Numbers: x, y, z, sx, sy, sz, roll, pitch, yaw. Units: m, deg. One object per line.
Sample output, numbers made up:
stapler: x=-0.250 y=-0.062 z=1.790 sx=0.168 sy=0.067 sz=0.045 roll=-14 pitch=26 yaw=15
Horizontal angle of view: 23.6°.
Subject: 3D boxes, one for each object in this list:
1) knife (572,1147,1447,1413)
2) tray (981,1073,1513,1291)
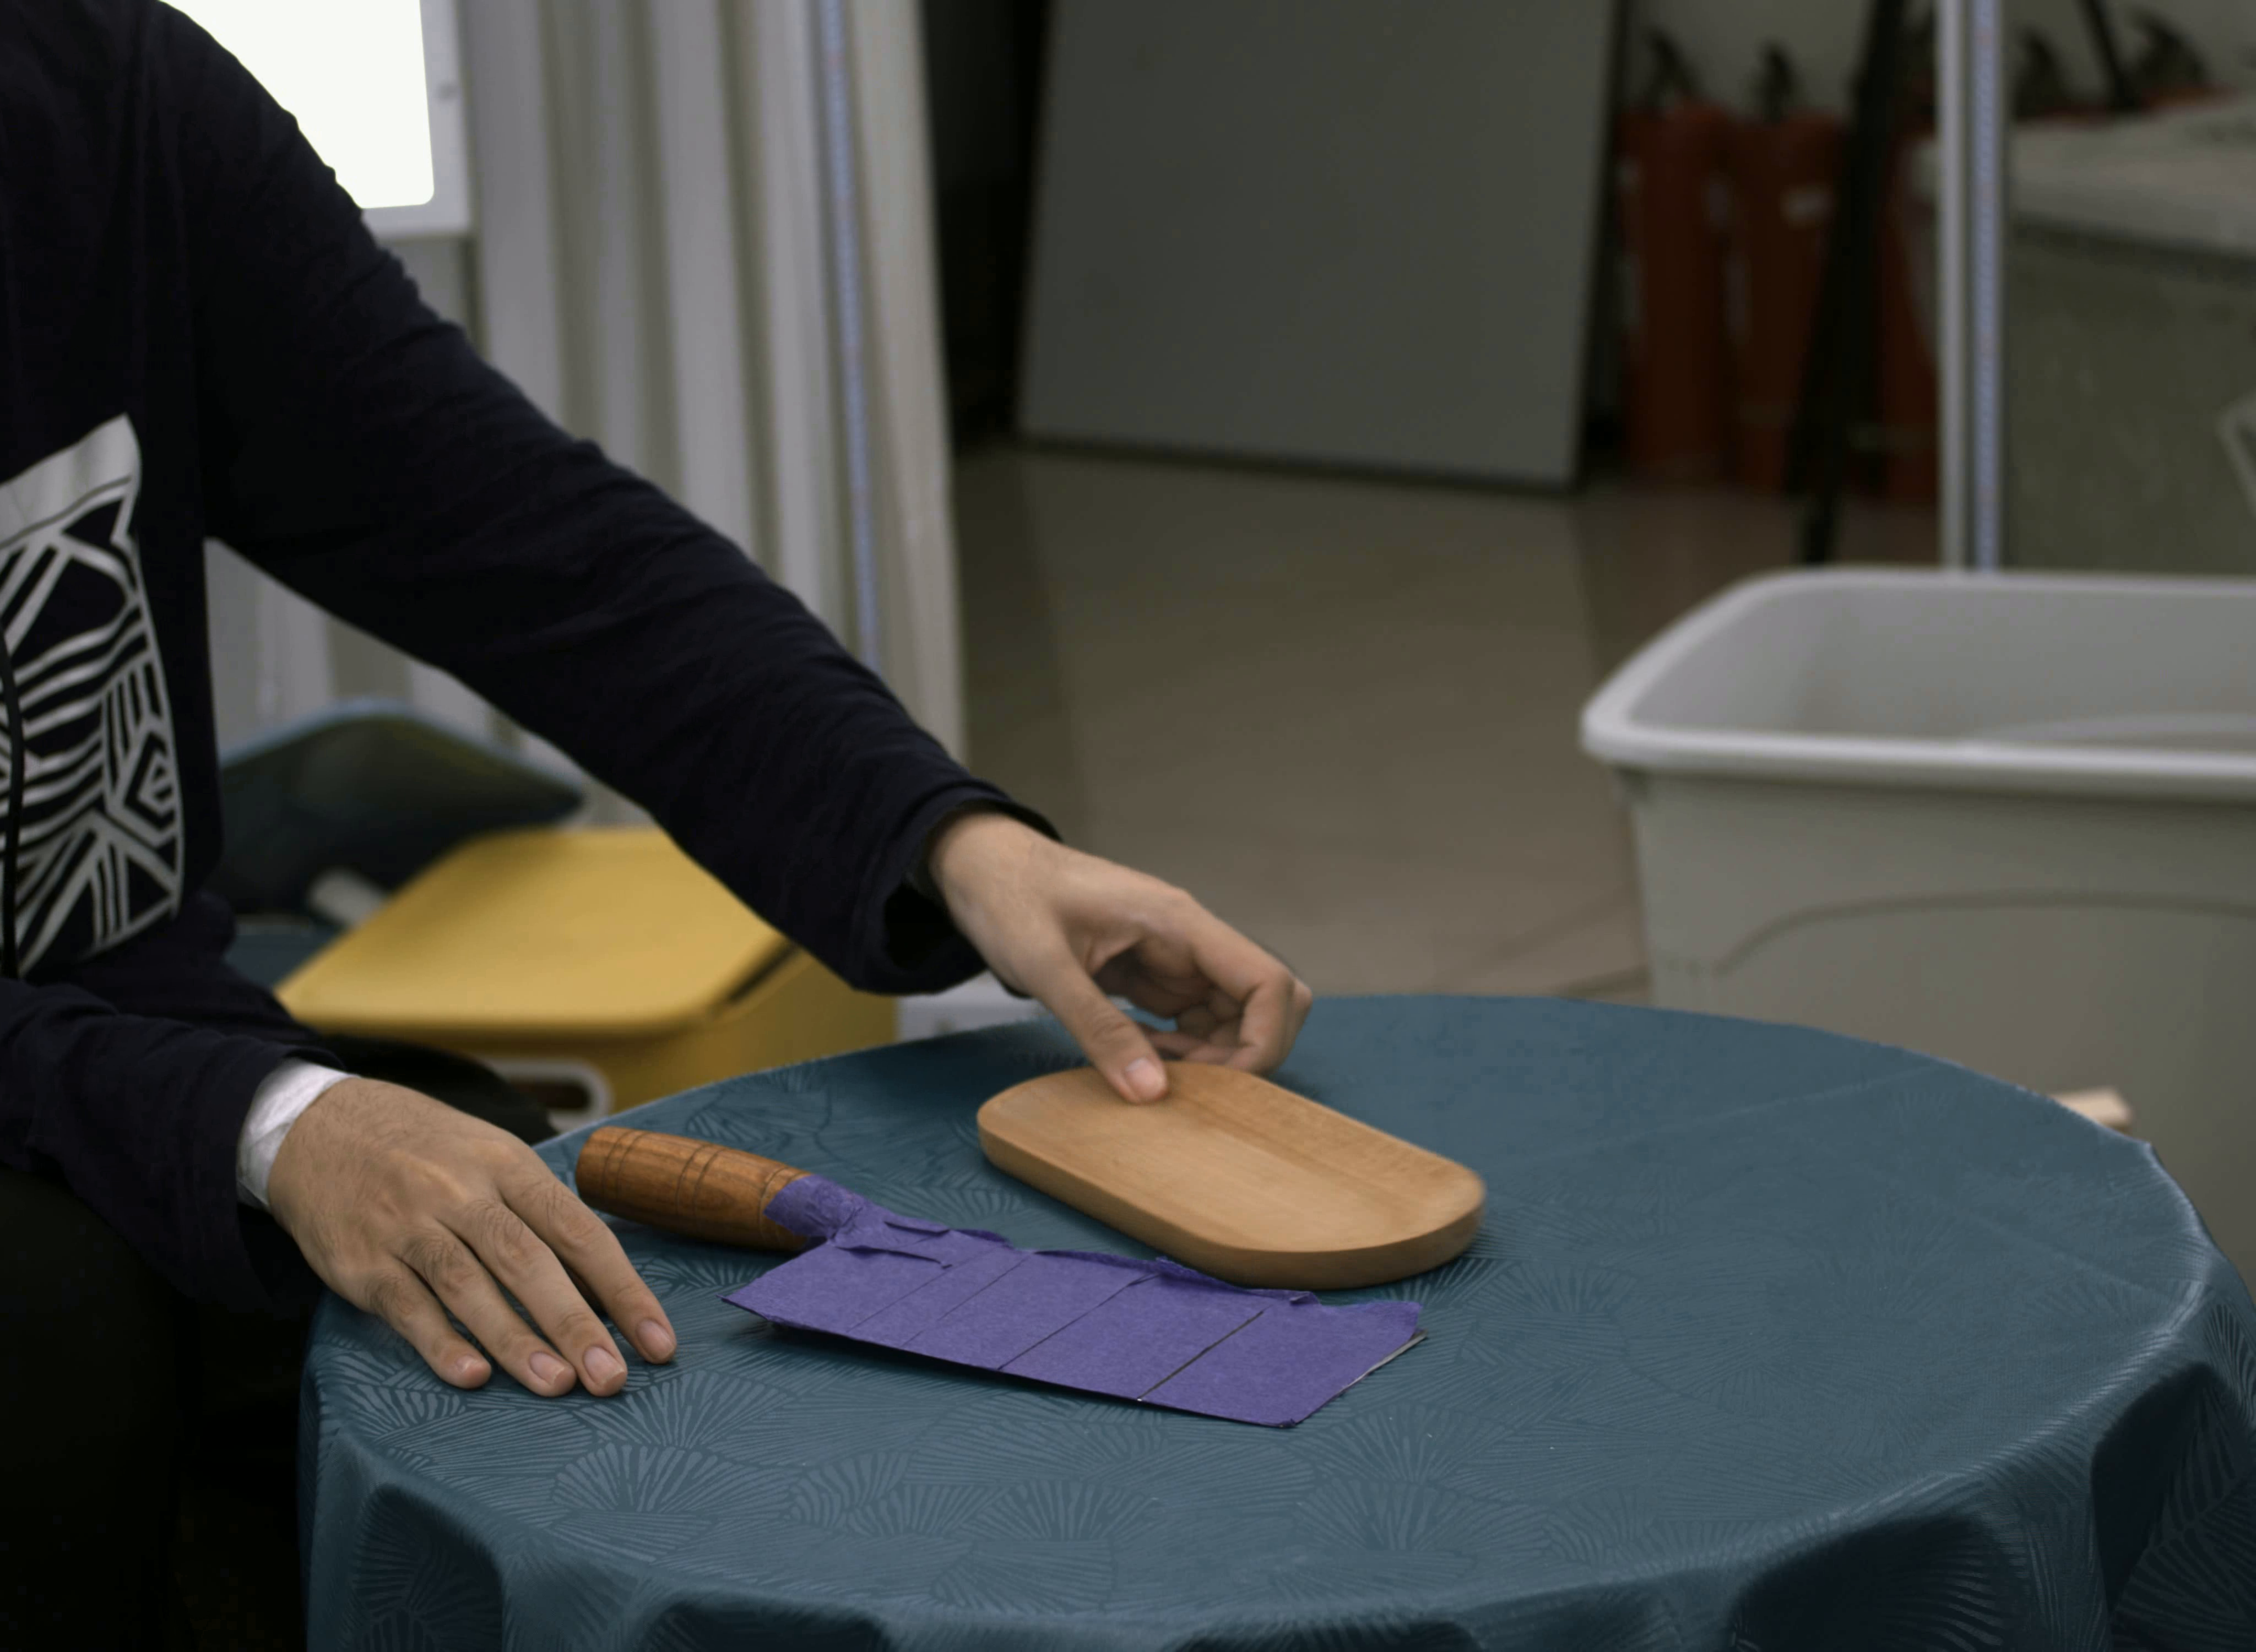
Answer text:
knife: x=-0.059 y=0.139 z=1.664 sx=0.317 sy=0.032 sz=0.102 roll=5 pitch=16 yaw=33
tray: x=0.037 y=0.115 z=1.758 sx=0.099 sy=0.020 sz=0.233 roll=-15 pitch=18 yaw=-30
